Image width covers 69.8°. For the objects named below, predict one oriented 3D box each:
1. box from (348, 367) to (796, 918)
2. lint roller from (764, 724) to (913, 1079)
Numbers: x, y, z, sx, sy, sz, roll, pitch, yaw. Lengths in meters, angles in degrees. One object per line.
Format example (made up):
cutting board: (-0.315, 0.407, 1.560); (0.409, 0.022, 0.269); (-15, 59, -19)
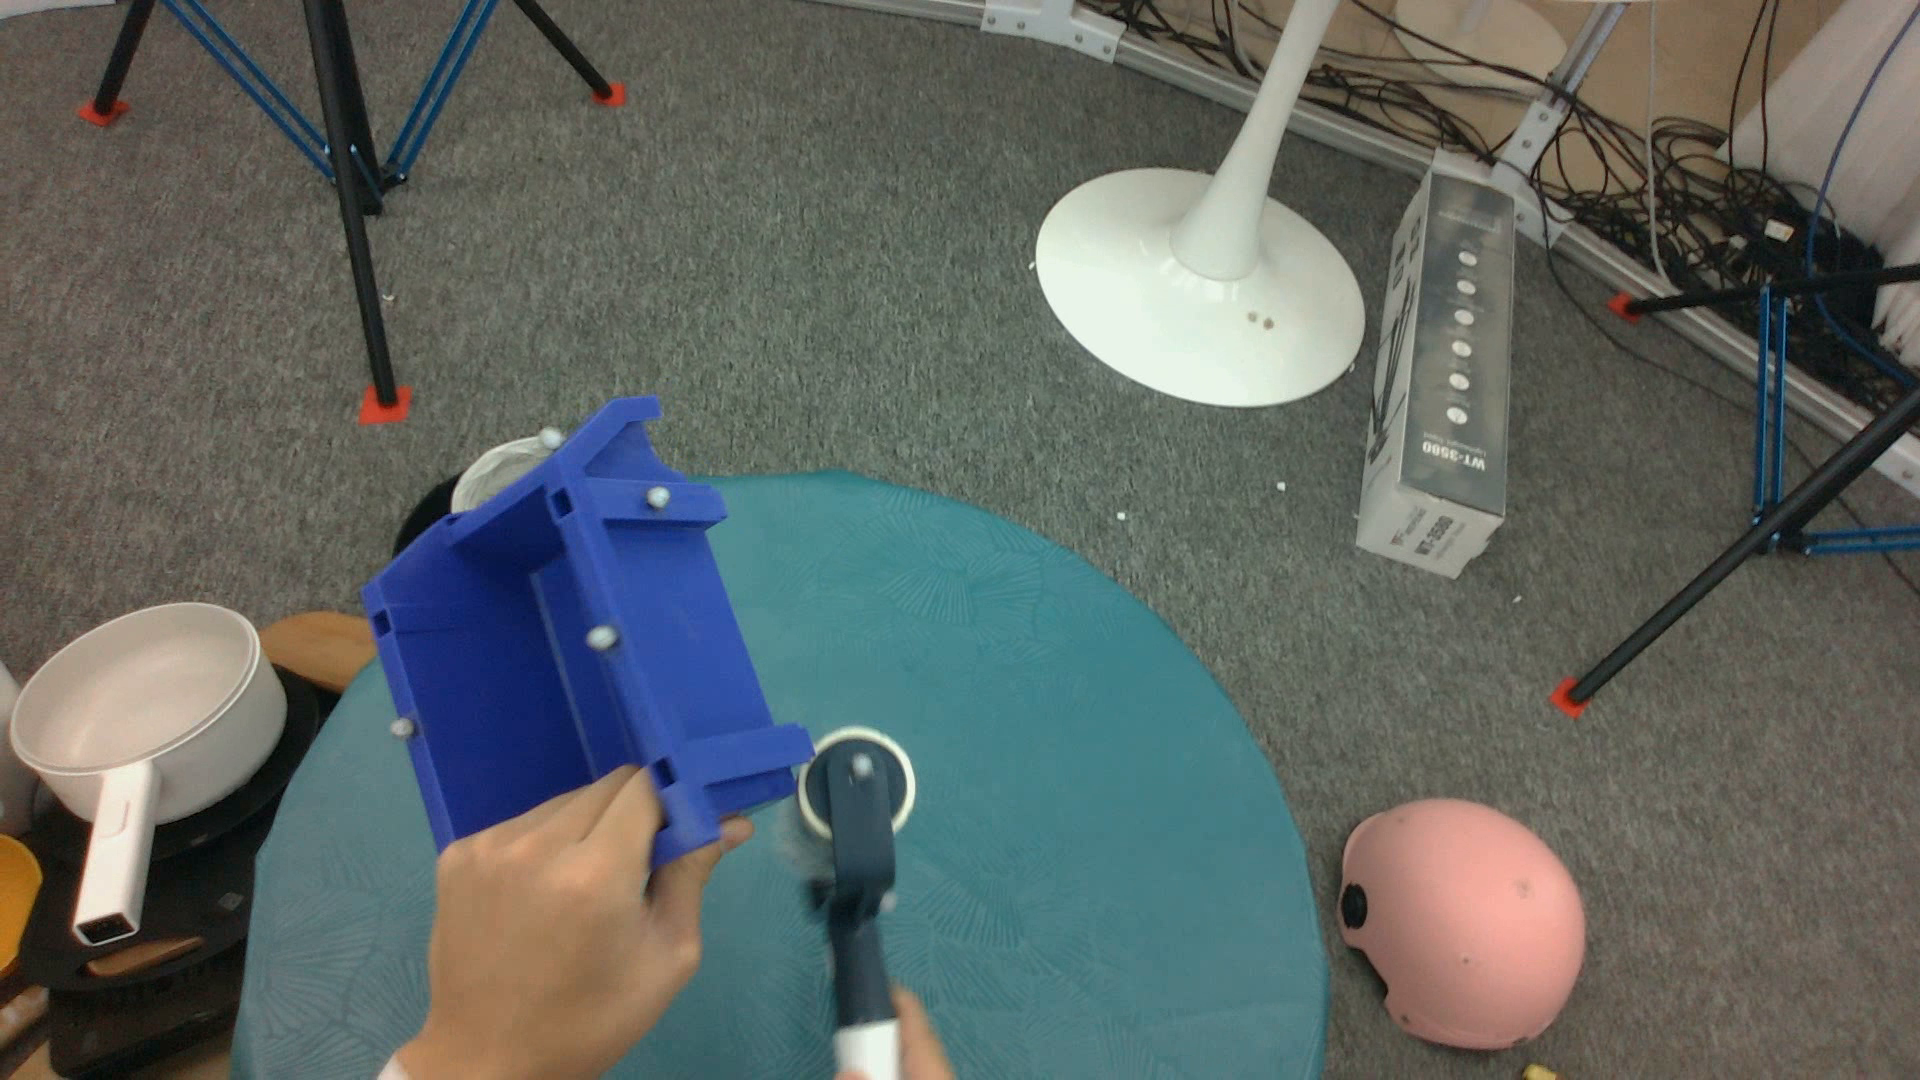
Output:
box: (-0.157, 0.037, 0.544); (0.082, 0.124, 0.179); (-3, 68, -63)
lint roller: (-0.036, 0.214, 0.589); (0.050, 0.175, 0.247); (-9, 73, -16)
